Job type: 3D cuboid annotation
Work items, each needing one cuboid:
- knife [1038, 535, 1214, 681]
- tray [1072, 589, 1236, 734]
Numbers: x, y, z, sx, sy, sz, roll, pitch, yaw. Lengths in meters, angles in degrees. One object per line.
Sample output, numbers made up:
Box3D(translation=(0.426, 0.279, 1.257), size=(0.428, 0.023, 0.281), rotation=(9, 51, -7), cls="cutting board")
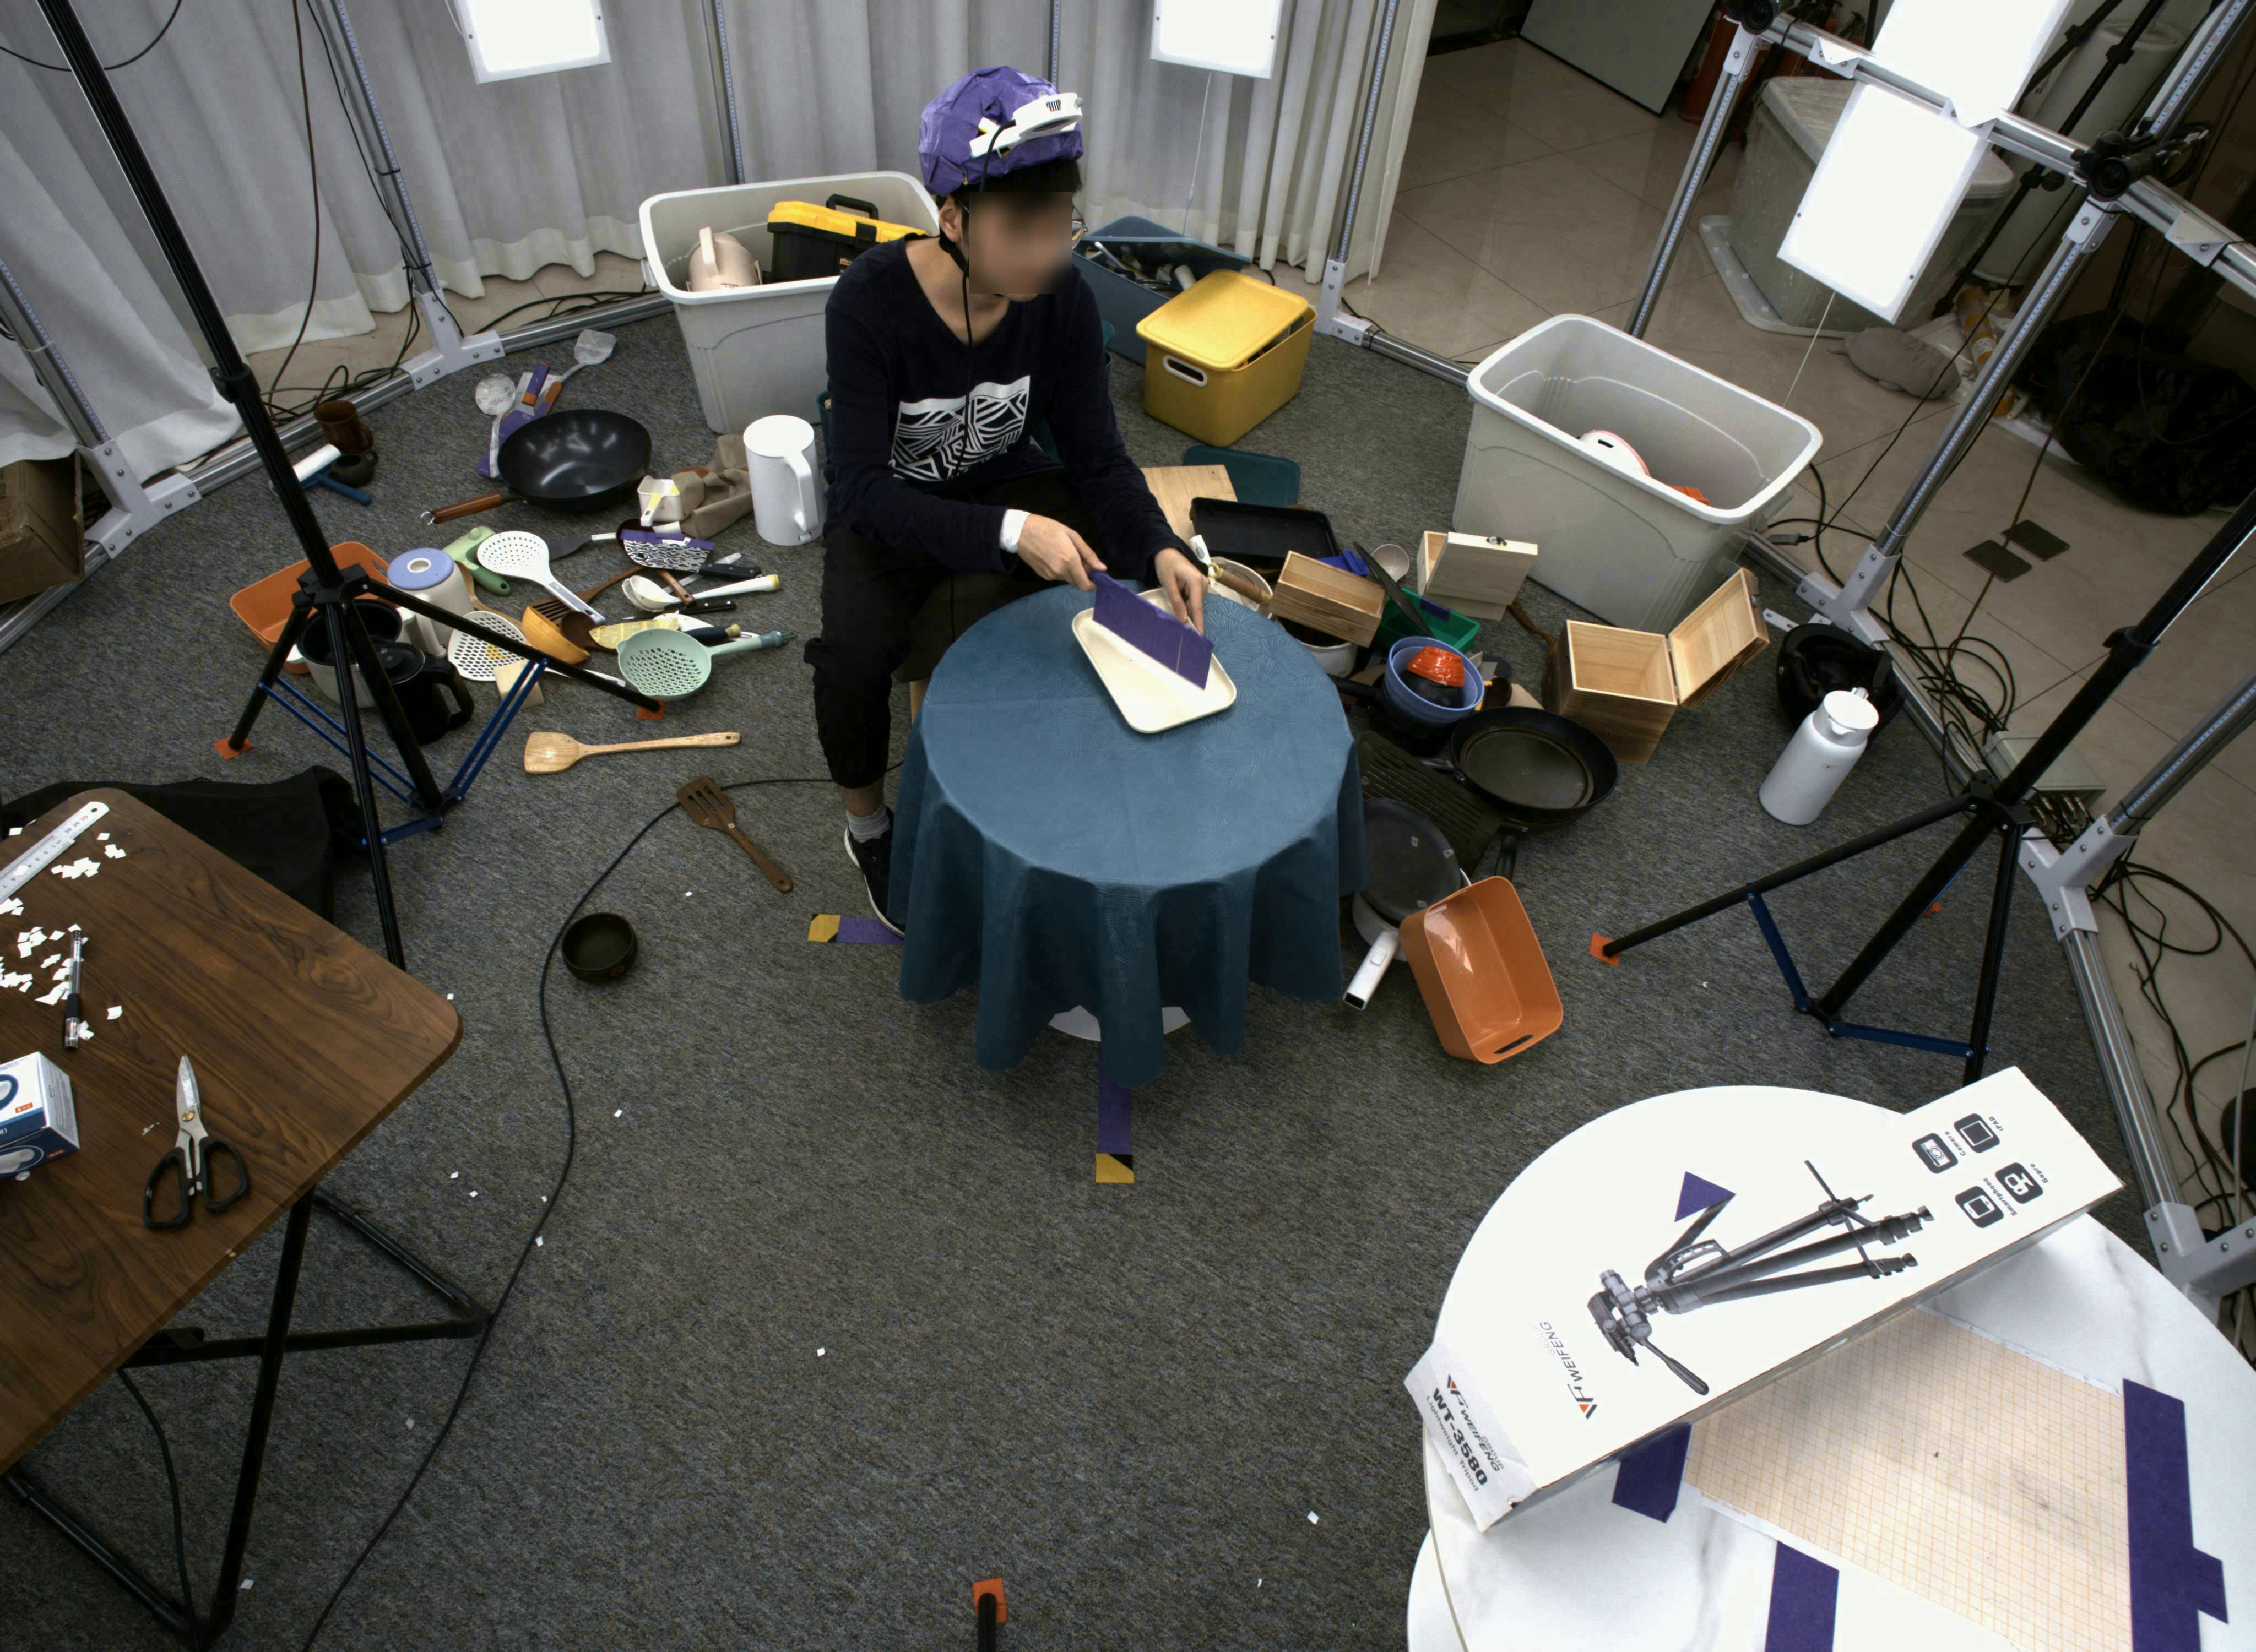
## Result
Box3D(translation=(-0.007, -0.305, 1.820), size=(0.320, 0.101, 0.032), rotation=(36, 51, 25), cls="knife")
Box3D(translation=(0.036, -0.238, 1.849), size=(0.171, 0.017, 0.244), rotation=(-20, 59, -16), cls="tray")
